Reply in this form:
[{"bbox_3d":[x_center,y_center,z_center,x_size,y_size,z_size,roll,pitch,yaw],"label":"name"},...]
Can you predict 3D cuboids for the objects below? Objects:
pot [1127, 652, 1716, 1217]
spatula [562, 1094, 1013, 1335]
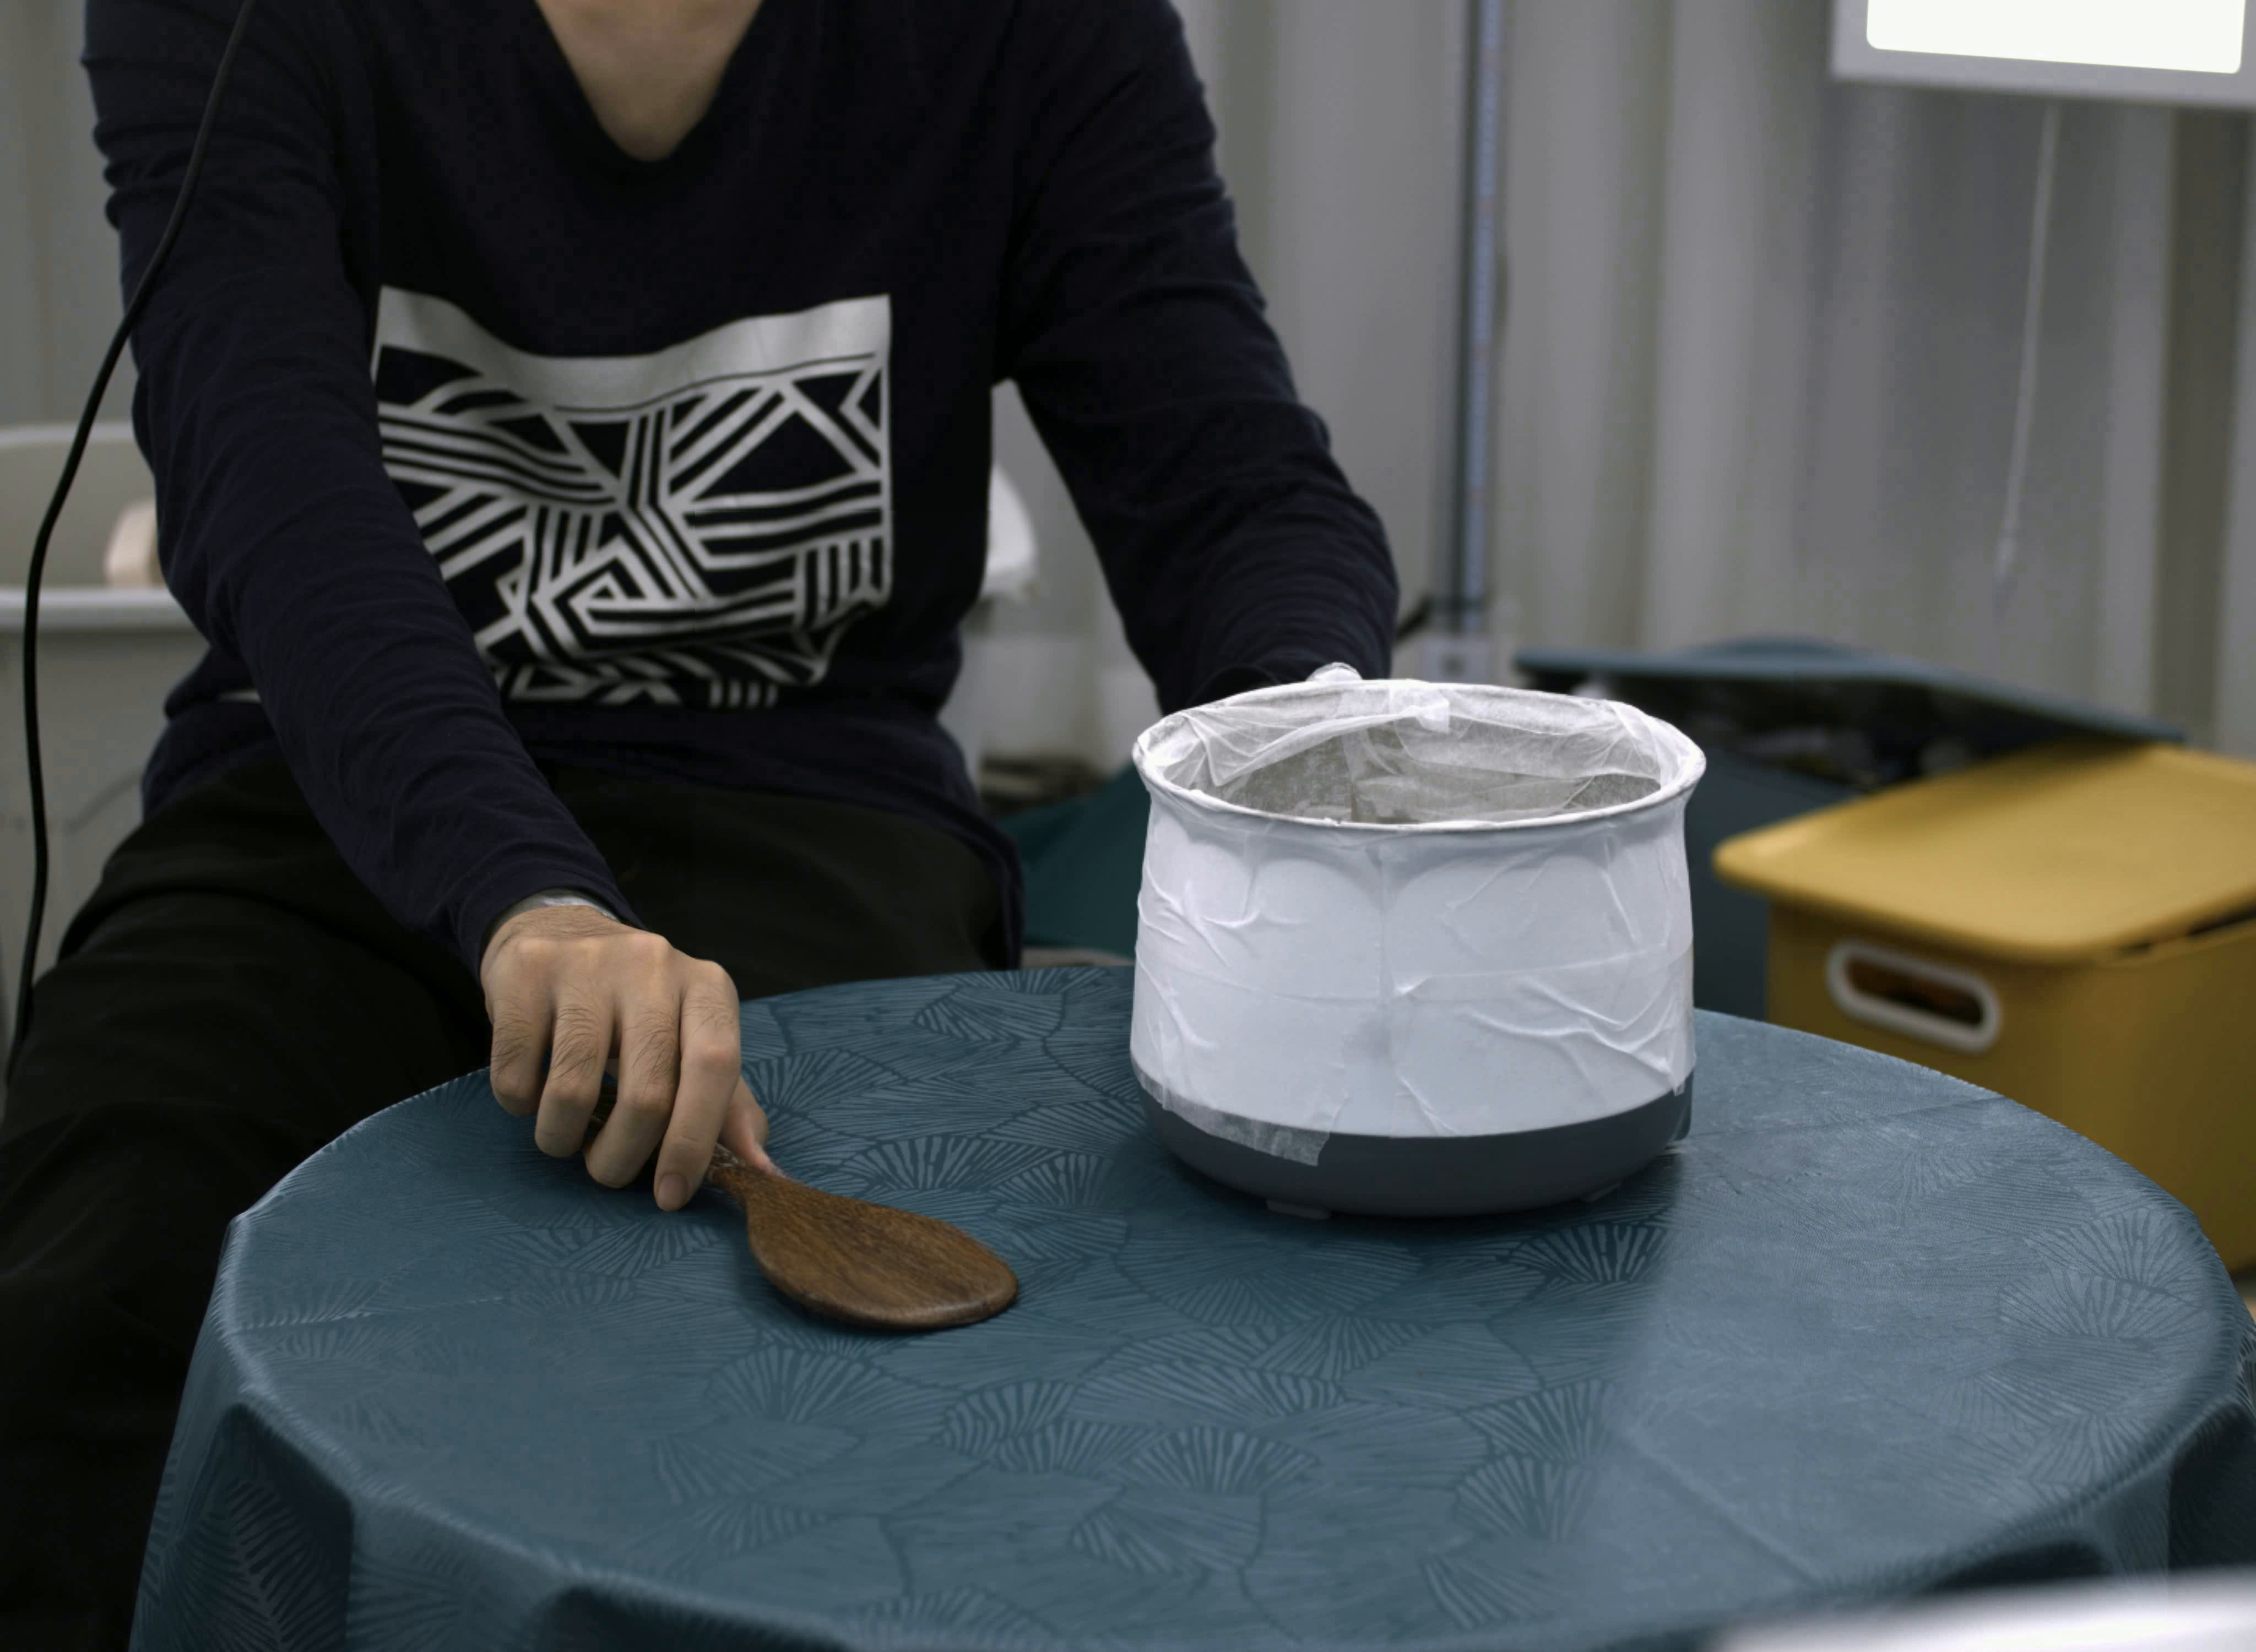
[{"bbox_3d":[0.082,0.029,1.666,0.179,0.138,0.231,-1,17,-15],"label":"pot"},{"bbox_3d":[-0.110,0.113,1.587,0.072,0.009,0.213,-4,17,-36],"label":"spatula"}]
